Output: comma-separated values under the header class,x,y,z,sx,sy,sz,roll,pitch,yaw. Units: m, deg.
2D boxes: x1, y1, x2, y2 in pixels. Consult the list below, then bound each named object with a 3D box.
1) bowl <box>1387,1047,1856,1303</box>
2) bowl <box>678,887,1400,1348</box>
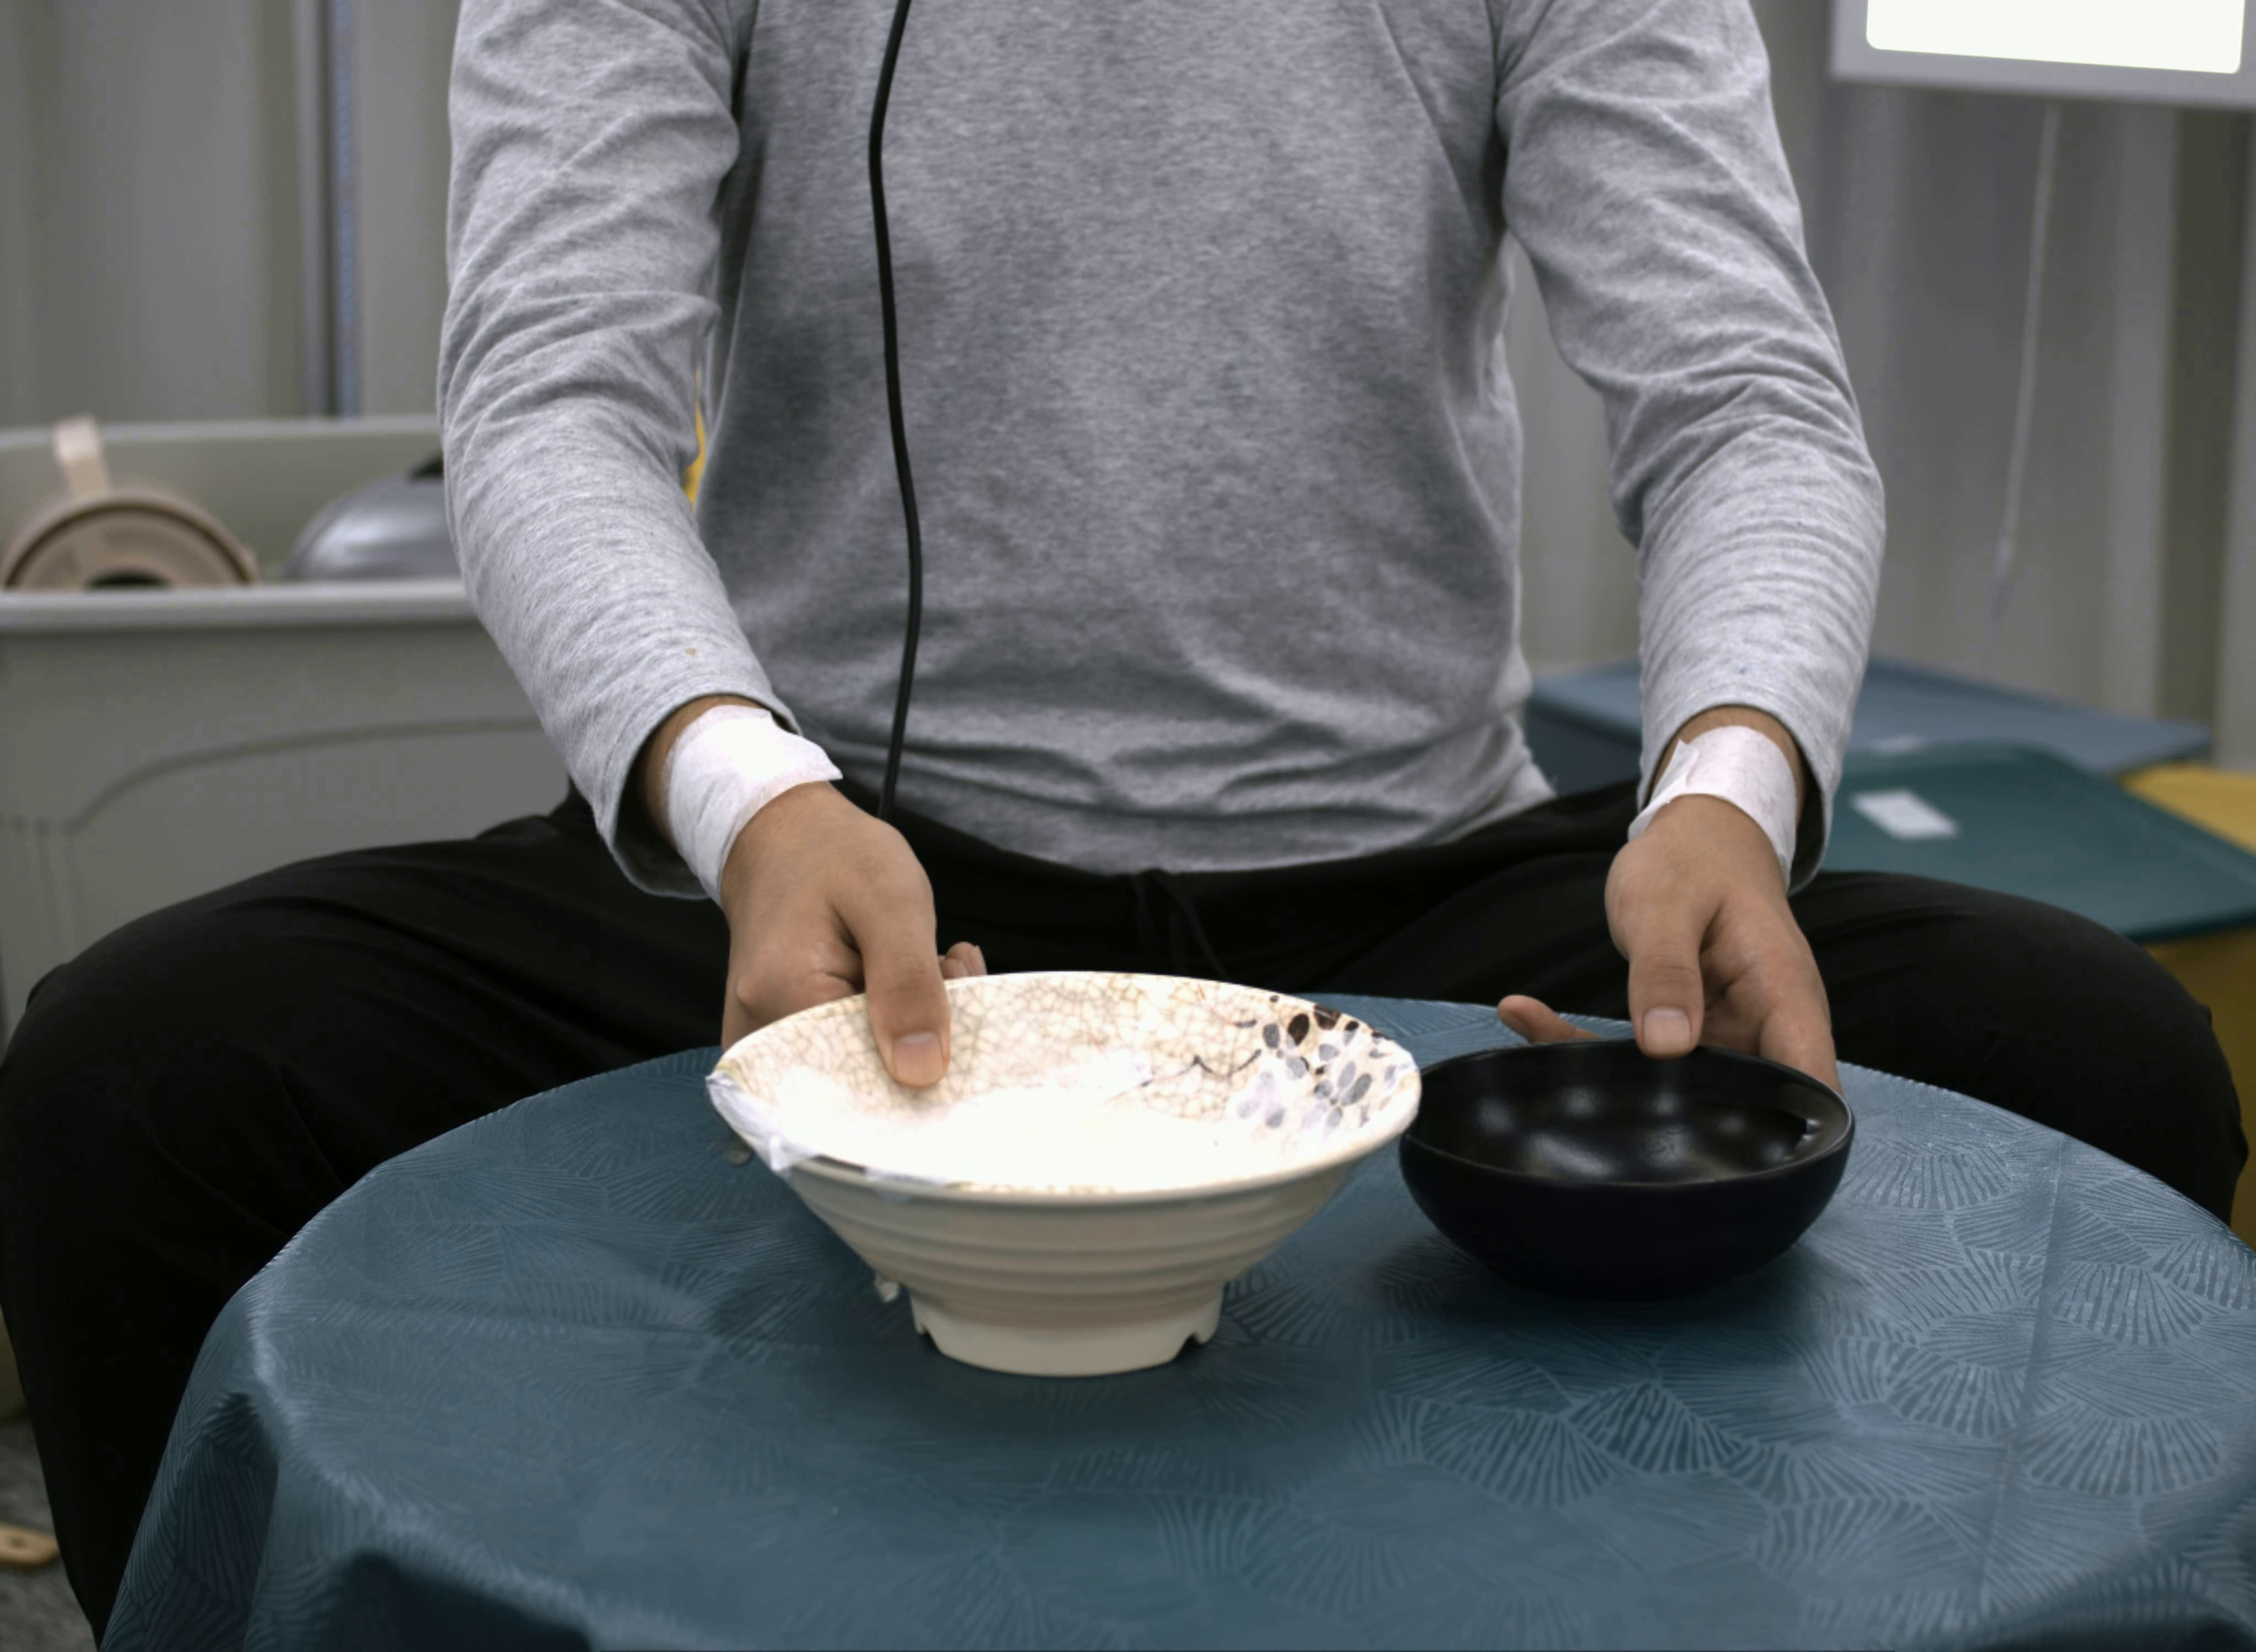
class,x,y,z,sx,sy,sz,roll,pitch,yaw
bowl,0.145,0.107,1.560,0.139,0.050,0.139,2,13,0
bowl,-0.026,0.094,1.493,0.203,0.079,0.202,3,24,-1
